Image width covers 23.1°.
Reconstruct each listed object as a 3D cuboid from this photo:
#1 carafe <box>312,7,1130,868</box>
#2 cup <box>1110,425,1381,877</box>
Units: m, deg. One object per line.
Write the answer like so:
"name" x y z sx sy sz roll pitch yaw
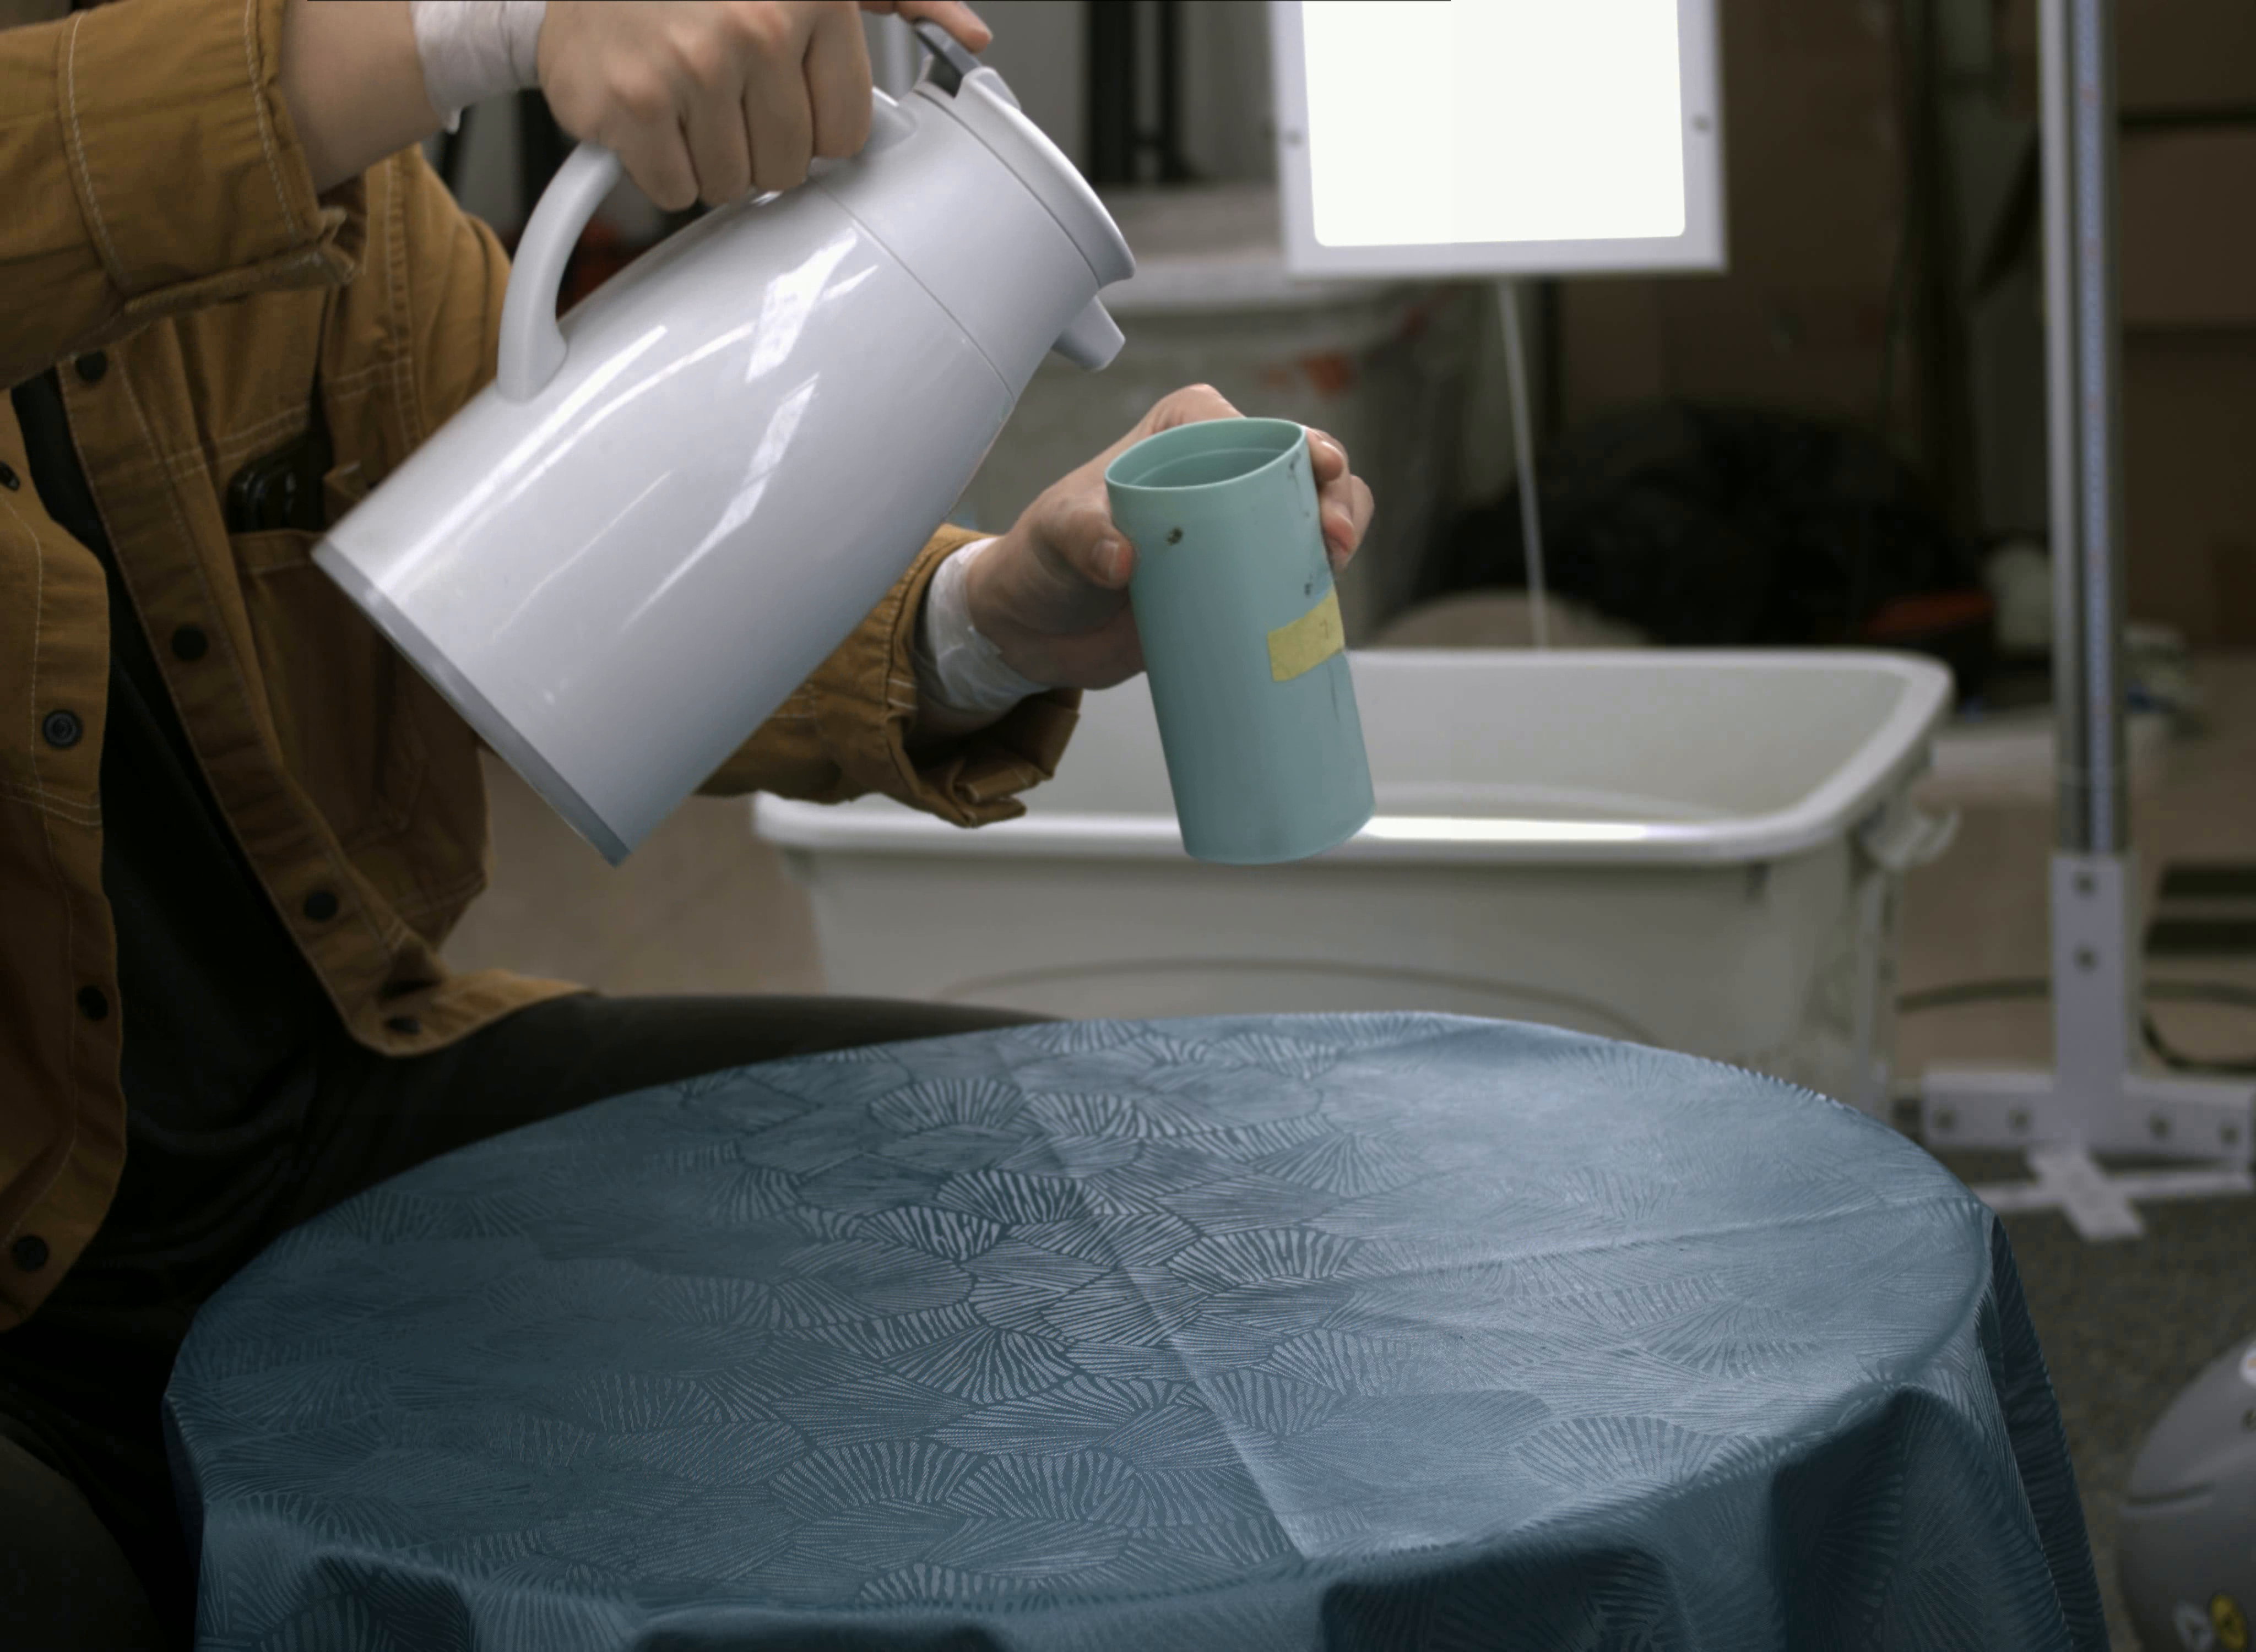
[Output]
"carafe" -0.123 -0.131 1.652 0.248 0.166 0.134 -45 31 -3
"cup" 0.038 -0.056 1.760 0.067 0.132 0.066 -11 21 3
